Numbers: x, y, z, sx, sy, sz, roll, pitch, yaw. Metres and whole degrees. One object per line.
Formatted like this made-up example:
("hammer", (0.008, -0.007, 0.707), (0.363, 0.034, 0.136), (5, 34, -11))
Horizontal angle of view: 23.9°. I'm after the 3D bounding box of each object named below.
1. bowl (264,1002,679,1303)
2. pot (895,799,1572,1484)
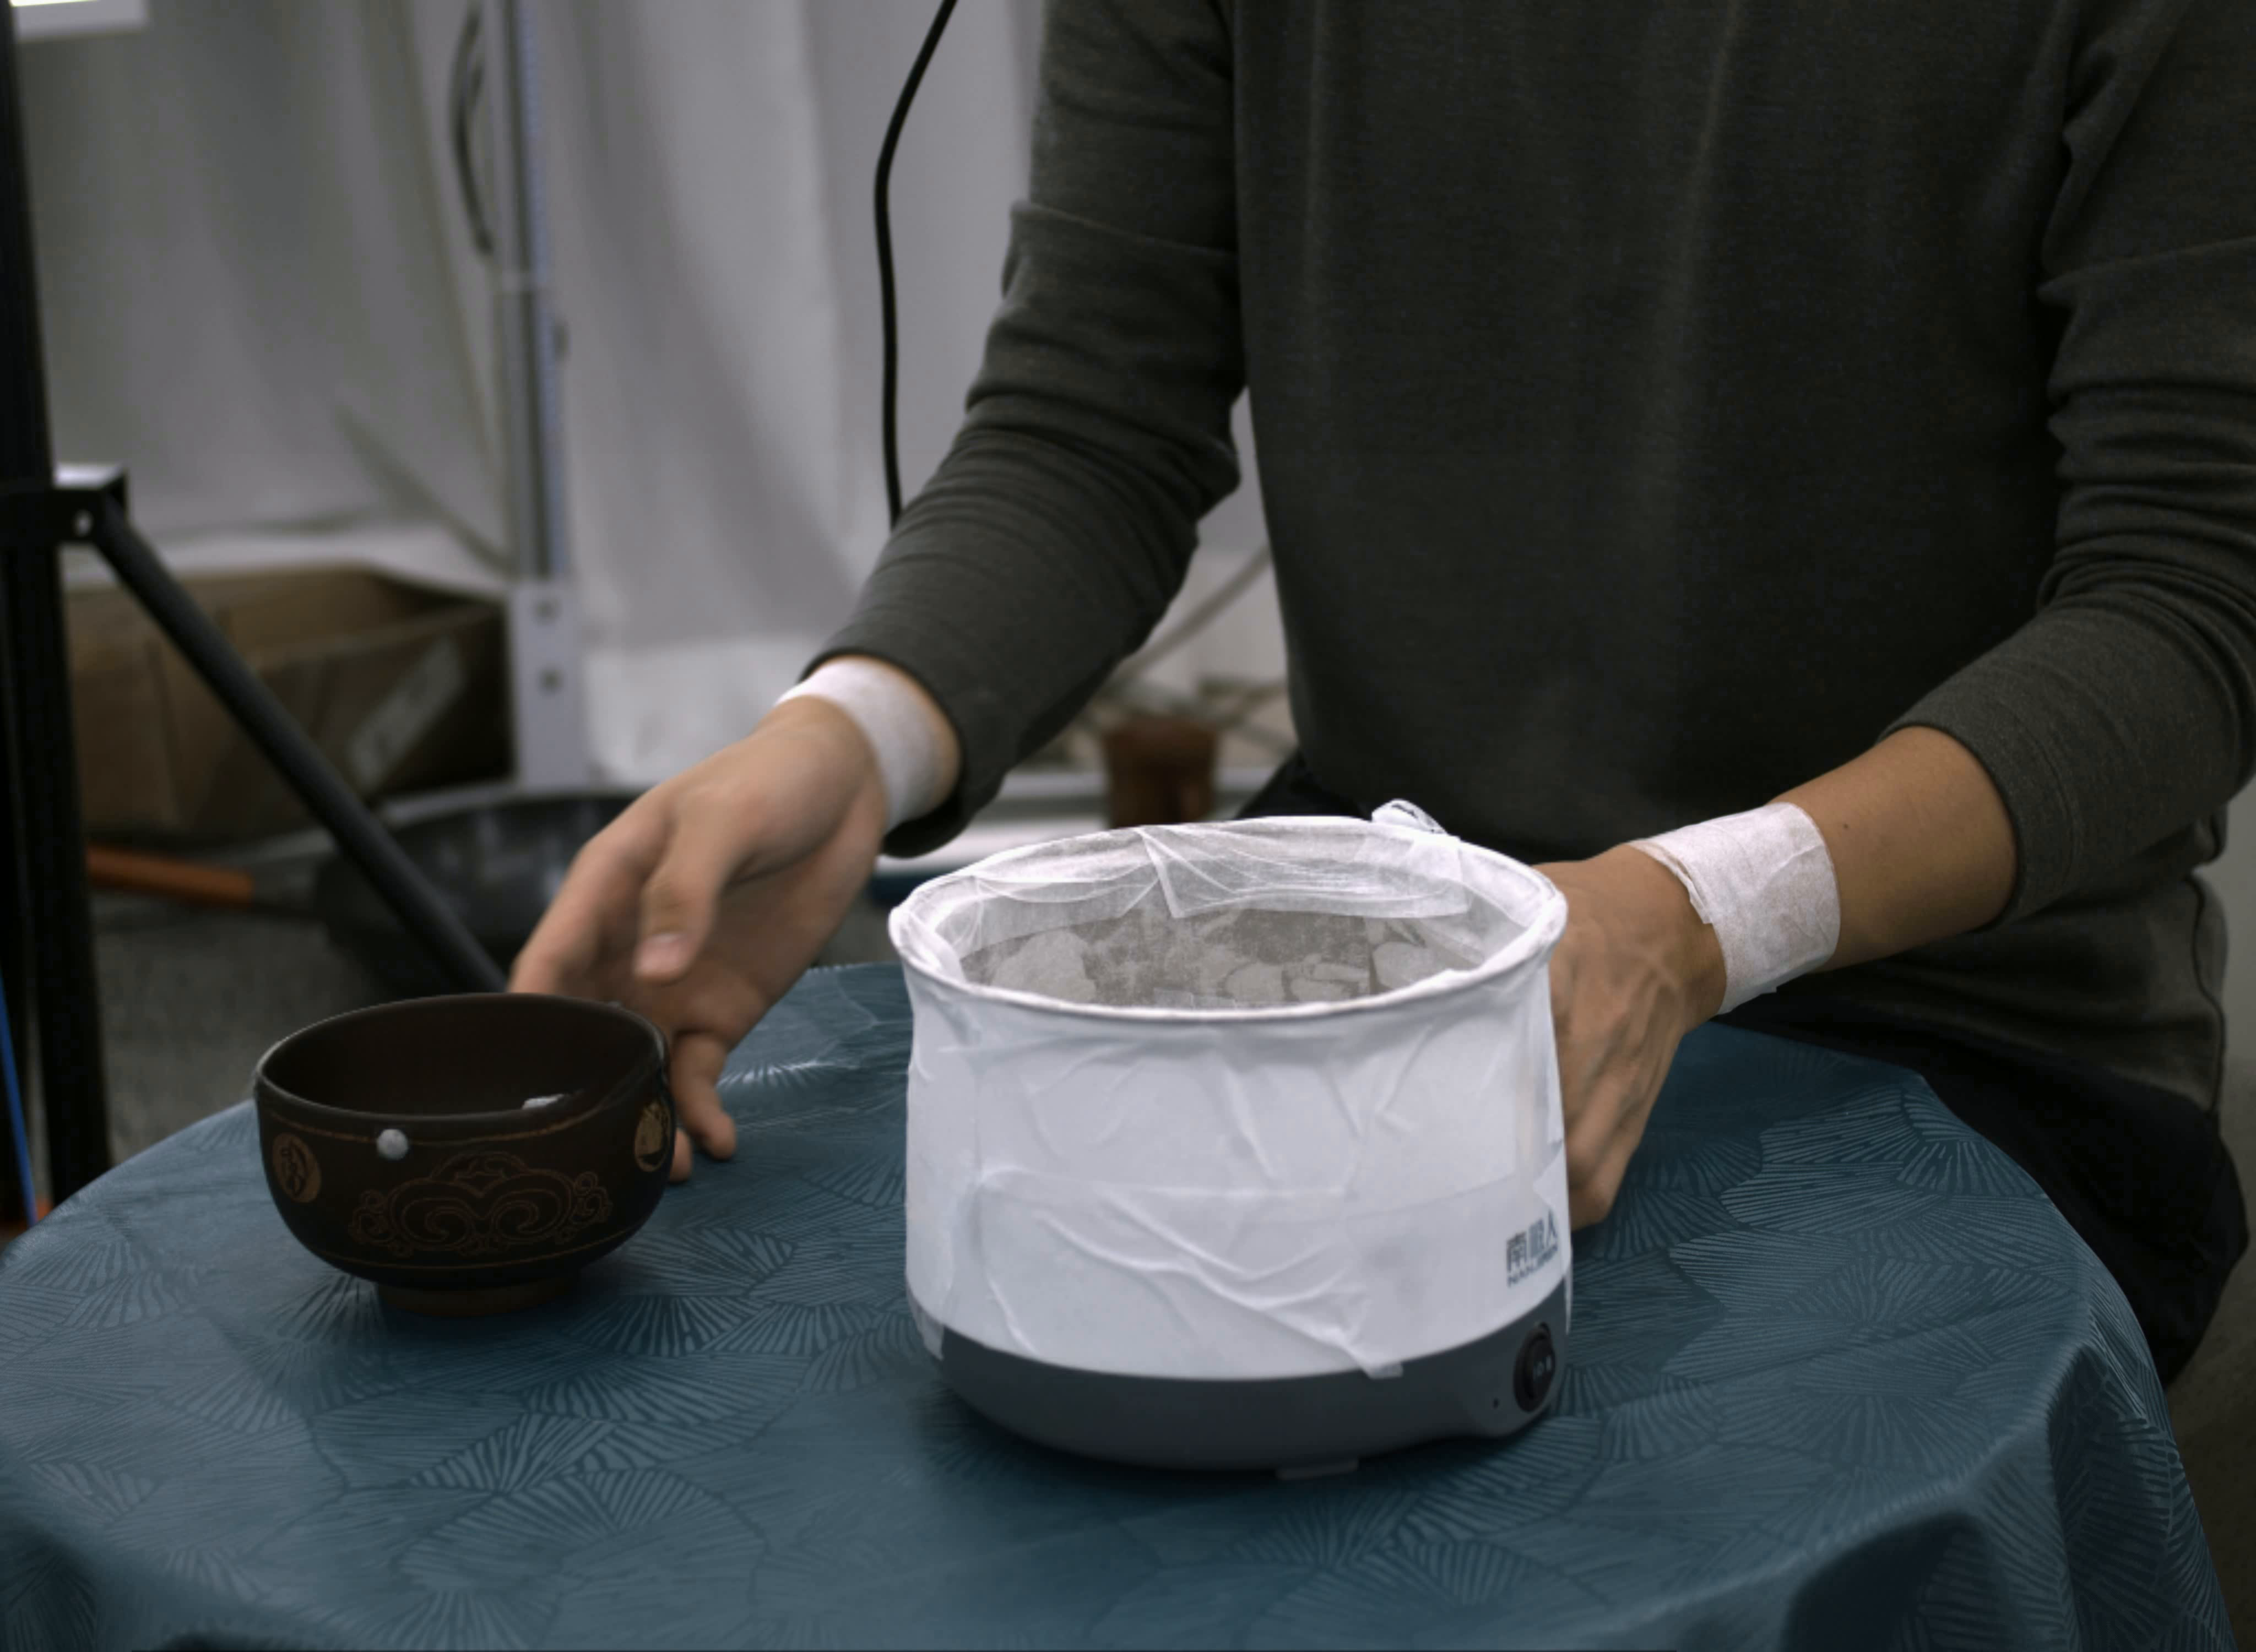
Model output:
("bowl", (-0.187, 0.096, 1.520), (0.117, 0.070, 0.118), (2, 9, -2))
("pot", (0.042, 0.076, 1.417), (0.182, 0.136, 0.229), (7, 18, 29))
